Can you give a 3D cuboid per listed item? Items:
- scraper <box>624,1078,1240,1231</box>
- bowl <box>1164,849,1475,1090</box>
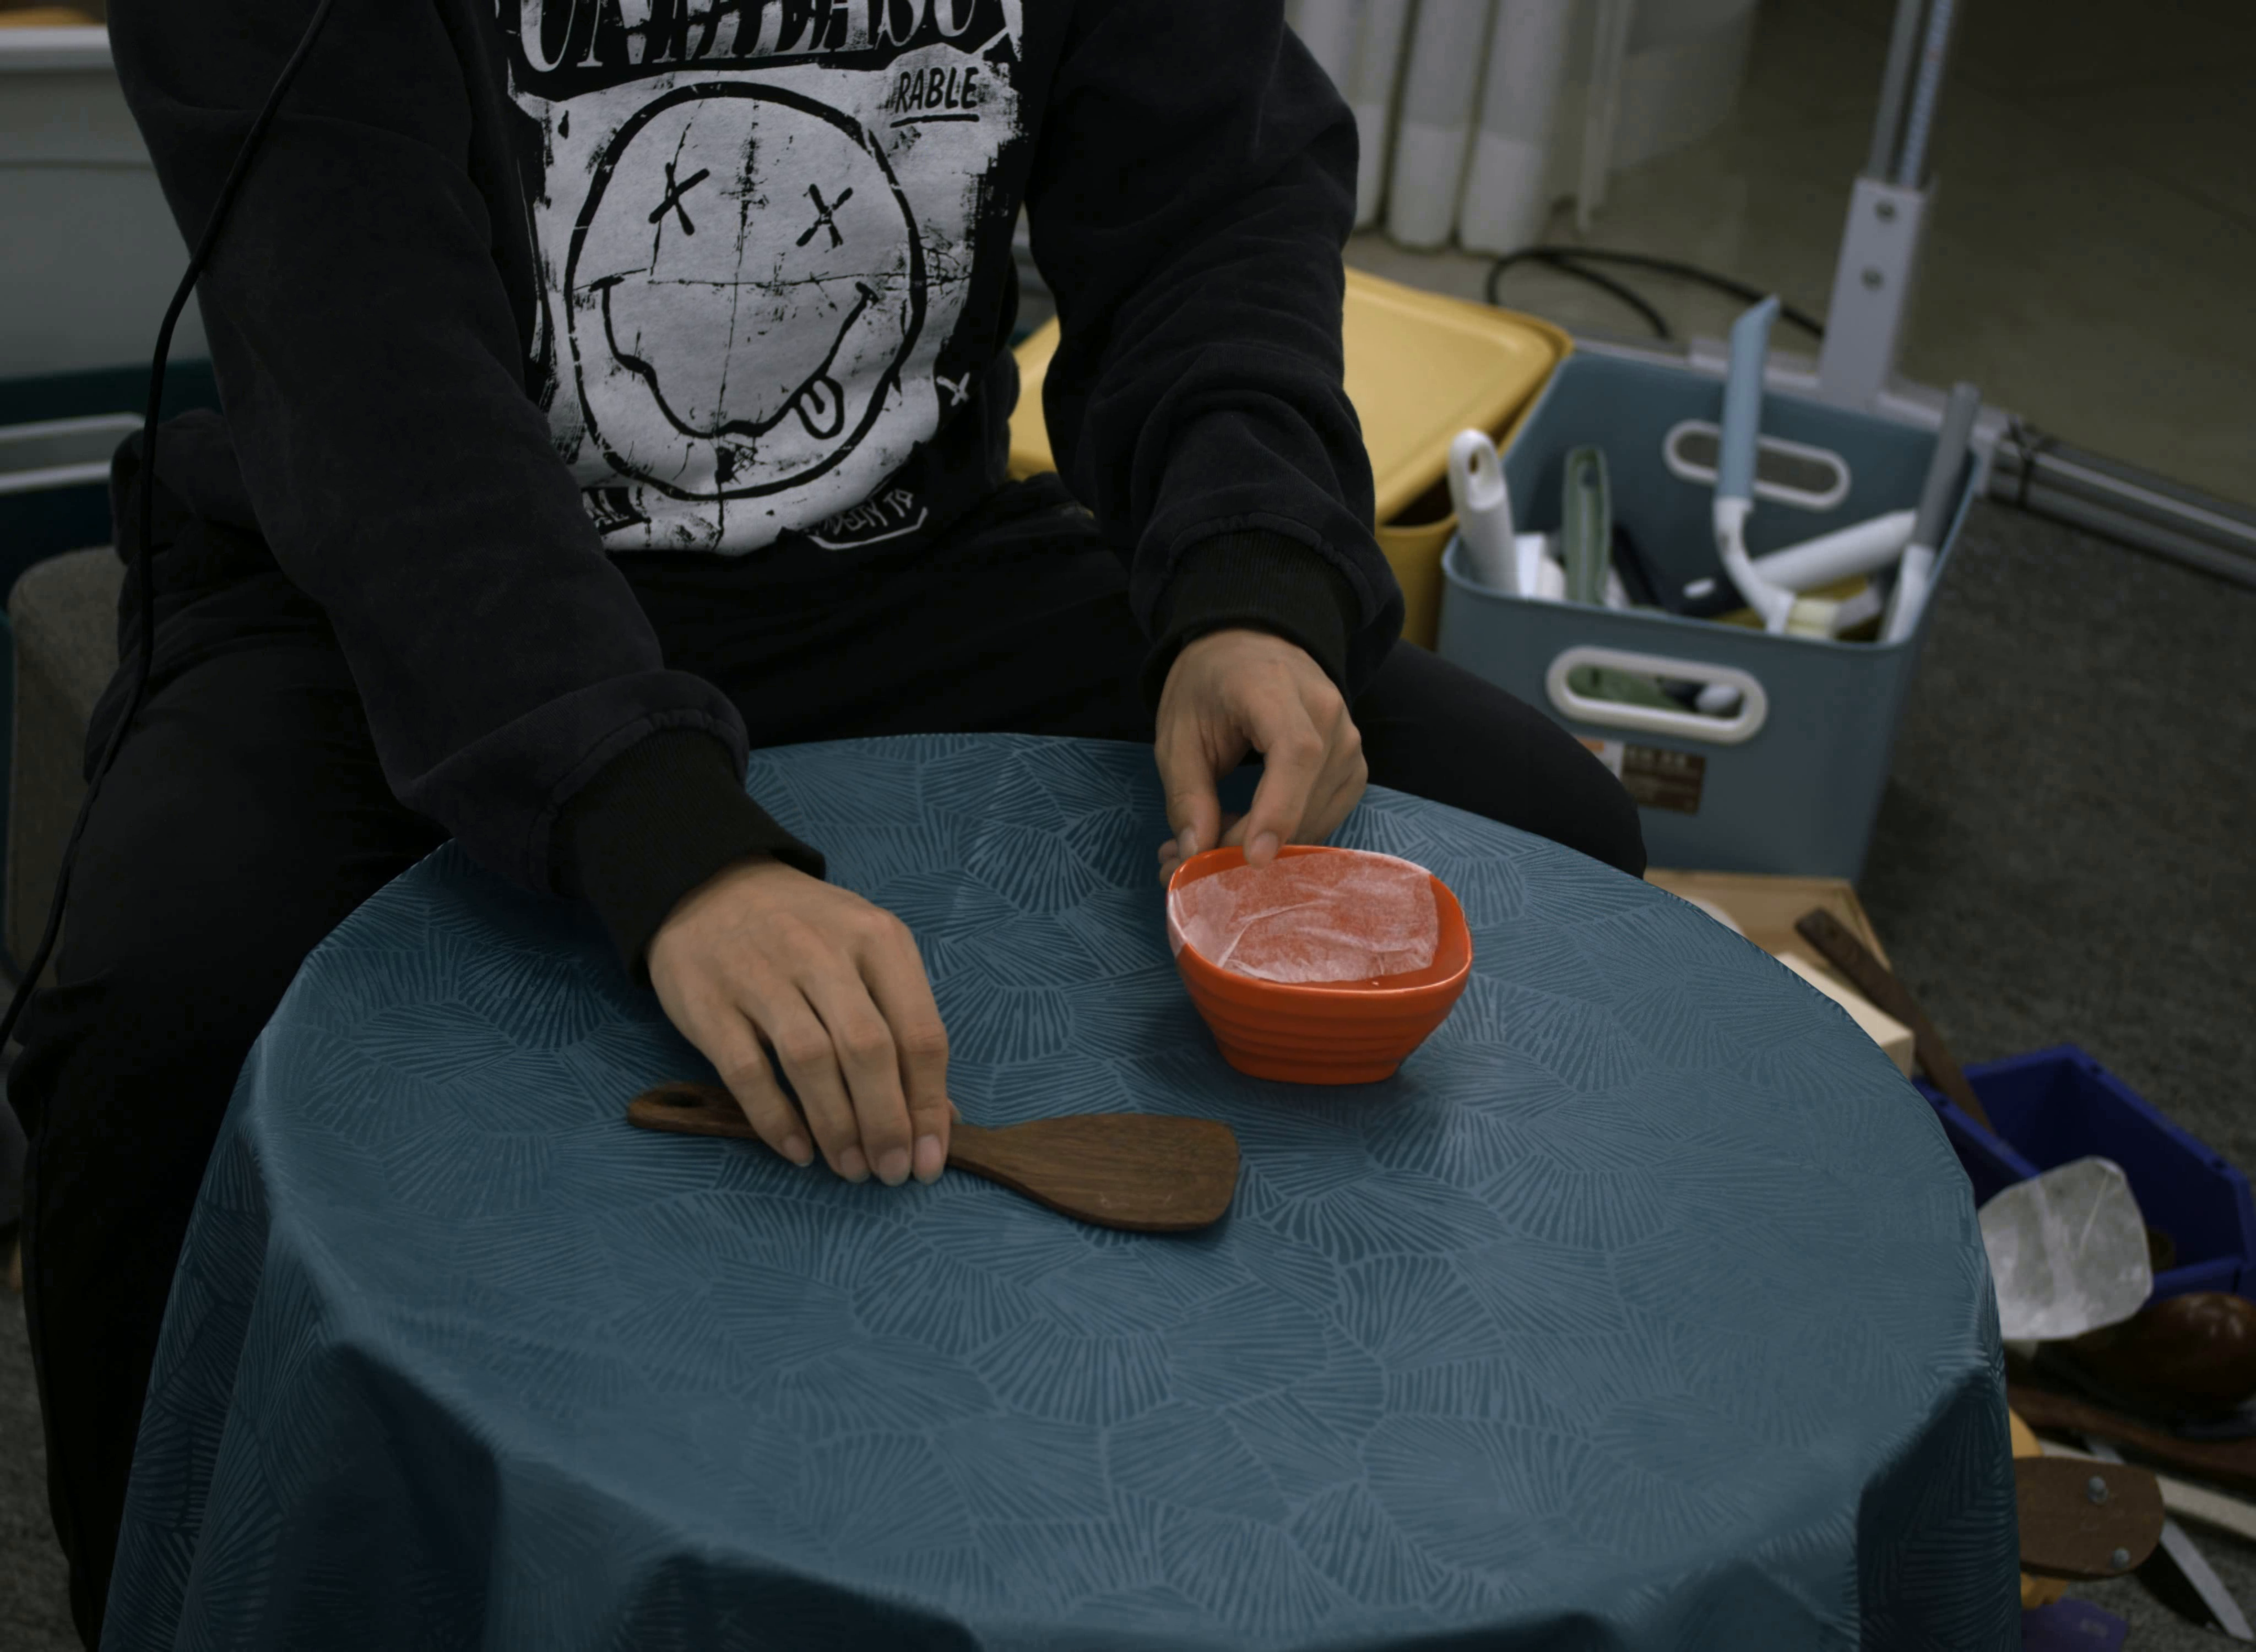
[{"bbox_3d":[-0.067,0.107,1.809,0.211,0.011,0.076,8,26,4],"label":"scraper"},{"bbox_3d":[0.066,0.056,1.897,0.118,0.051,0.119,5,28,-3],"label":"bowl"}]
